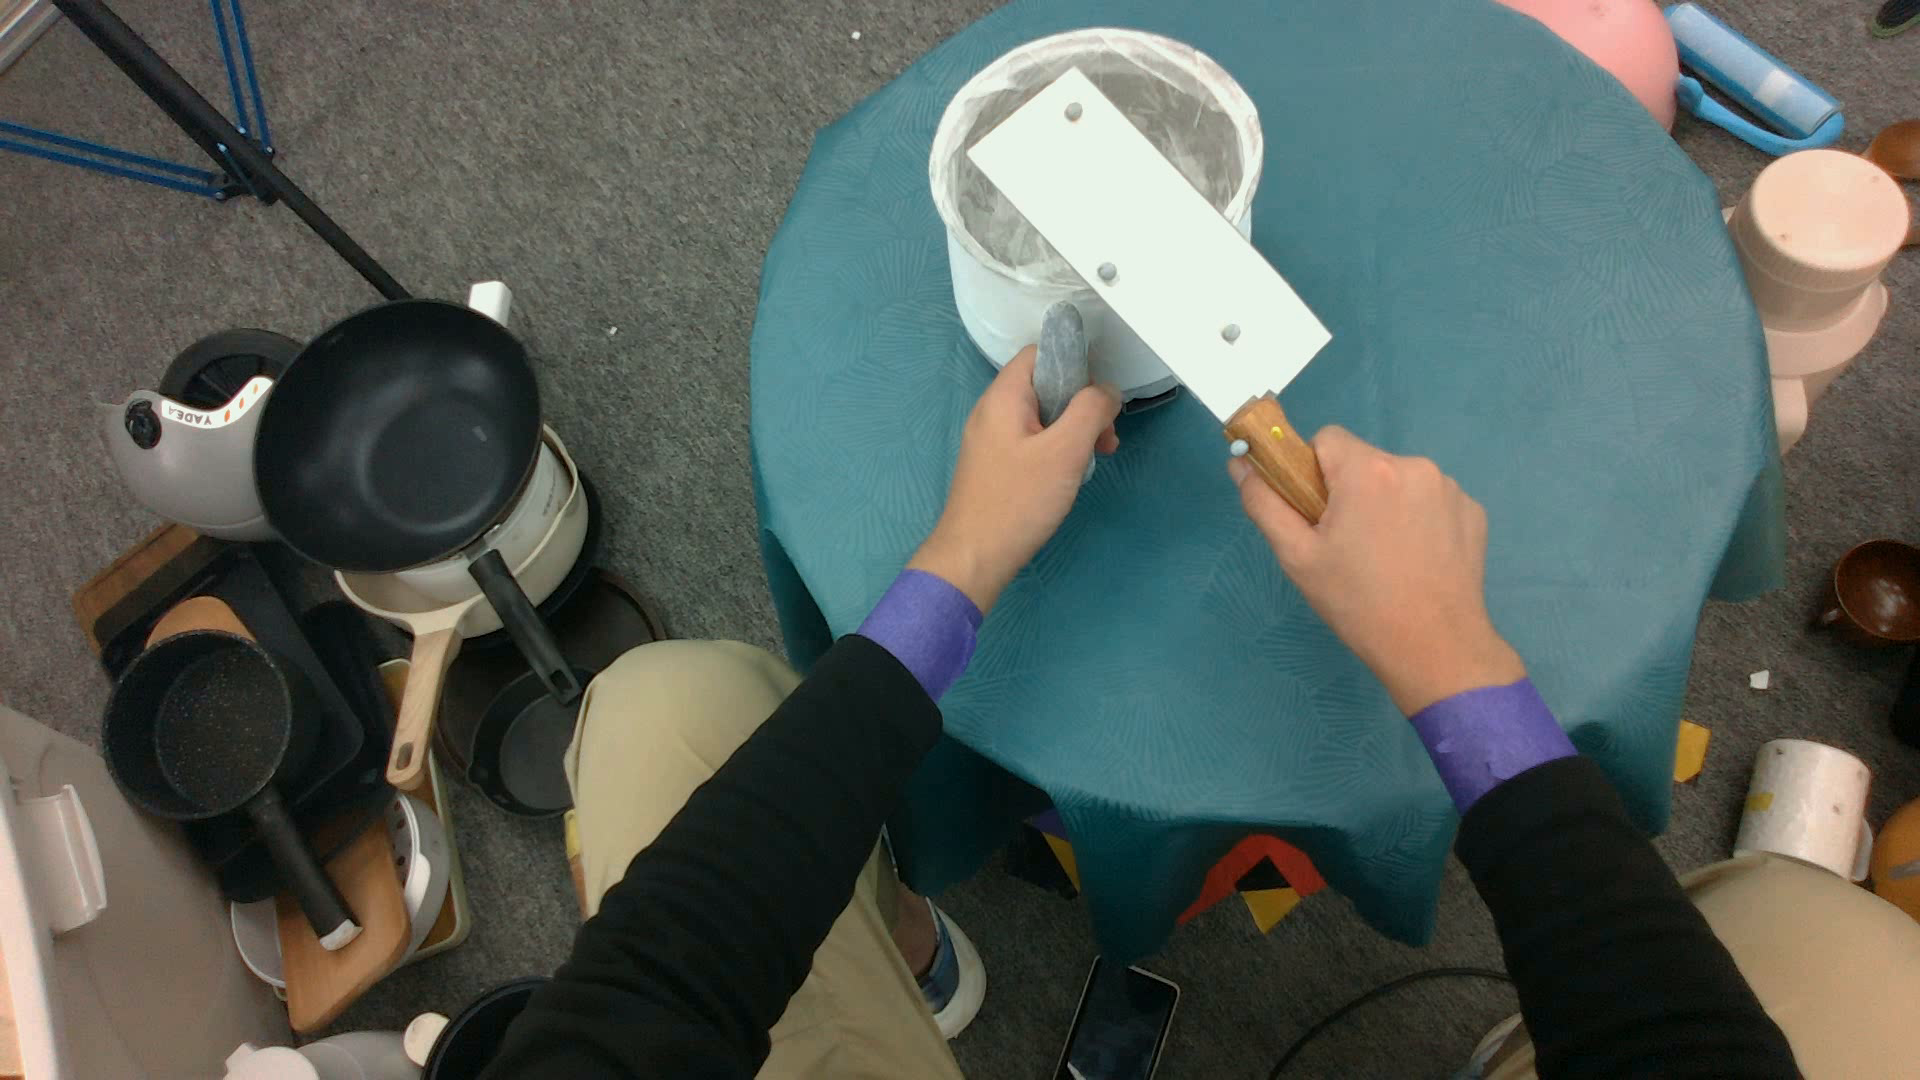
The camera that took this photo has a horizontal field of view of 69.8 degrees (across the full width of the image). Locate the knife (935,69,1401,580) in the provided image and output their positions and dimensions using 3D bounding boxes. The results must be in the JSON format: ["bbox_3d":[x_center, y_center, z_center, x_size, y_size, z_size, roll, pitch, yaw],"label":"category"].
[{"bbox_3d":[0.118,-0.113,0.684,0.306,0.021,0.093,45,65,-2],"label":"knife"}]

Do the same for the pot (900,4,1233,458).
[{"bbox_3d":[0.058,-0.169,0.778,0.178,0.136,0.234,6,65,10],"label":"pot"}]
